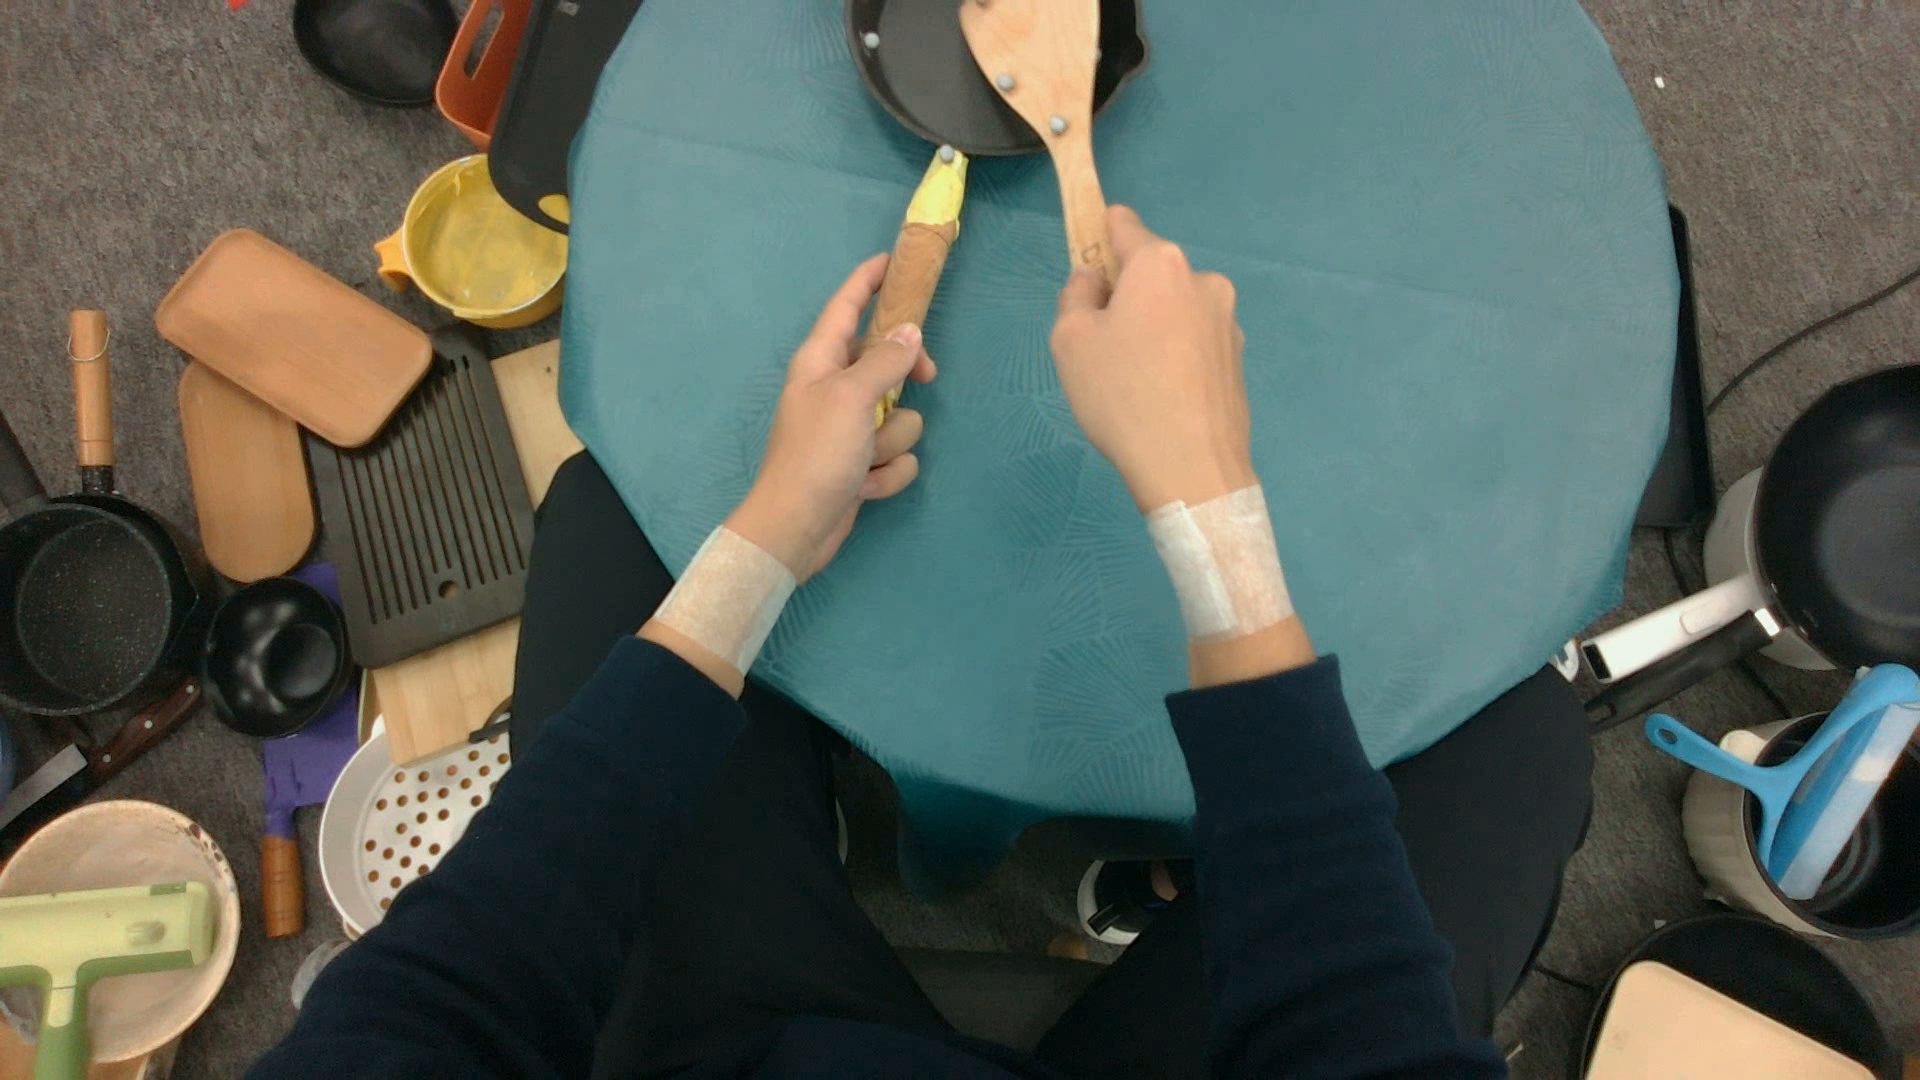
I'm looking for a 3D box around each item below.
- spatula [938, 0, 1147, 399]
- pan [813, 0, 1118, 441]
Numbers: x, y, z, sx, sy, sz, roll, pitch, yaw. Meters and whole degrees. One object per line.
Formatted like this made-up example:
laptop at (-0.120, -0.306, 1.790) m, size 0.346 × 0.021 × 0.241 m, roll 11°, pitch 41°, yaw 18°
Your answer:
spatula at (0.042, -0.190, 0.660) m, size 0.079 × 0.016 × 0.329 m, roll -28°, pitch 49°, yaw 22°
pan at (-0.022, -0.200, 0.717) m, size 0.169 × 0.049 × 0.325 m, roll 17°, pitch 77°, yaw 1°
